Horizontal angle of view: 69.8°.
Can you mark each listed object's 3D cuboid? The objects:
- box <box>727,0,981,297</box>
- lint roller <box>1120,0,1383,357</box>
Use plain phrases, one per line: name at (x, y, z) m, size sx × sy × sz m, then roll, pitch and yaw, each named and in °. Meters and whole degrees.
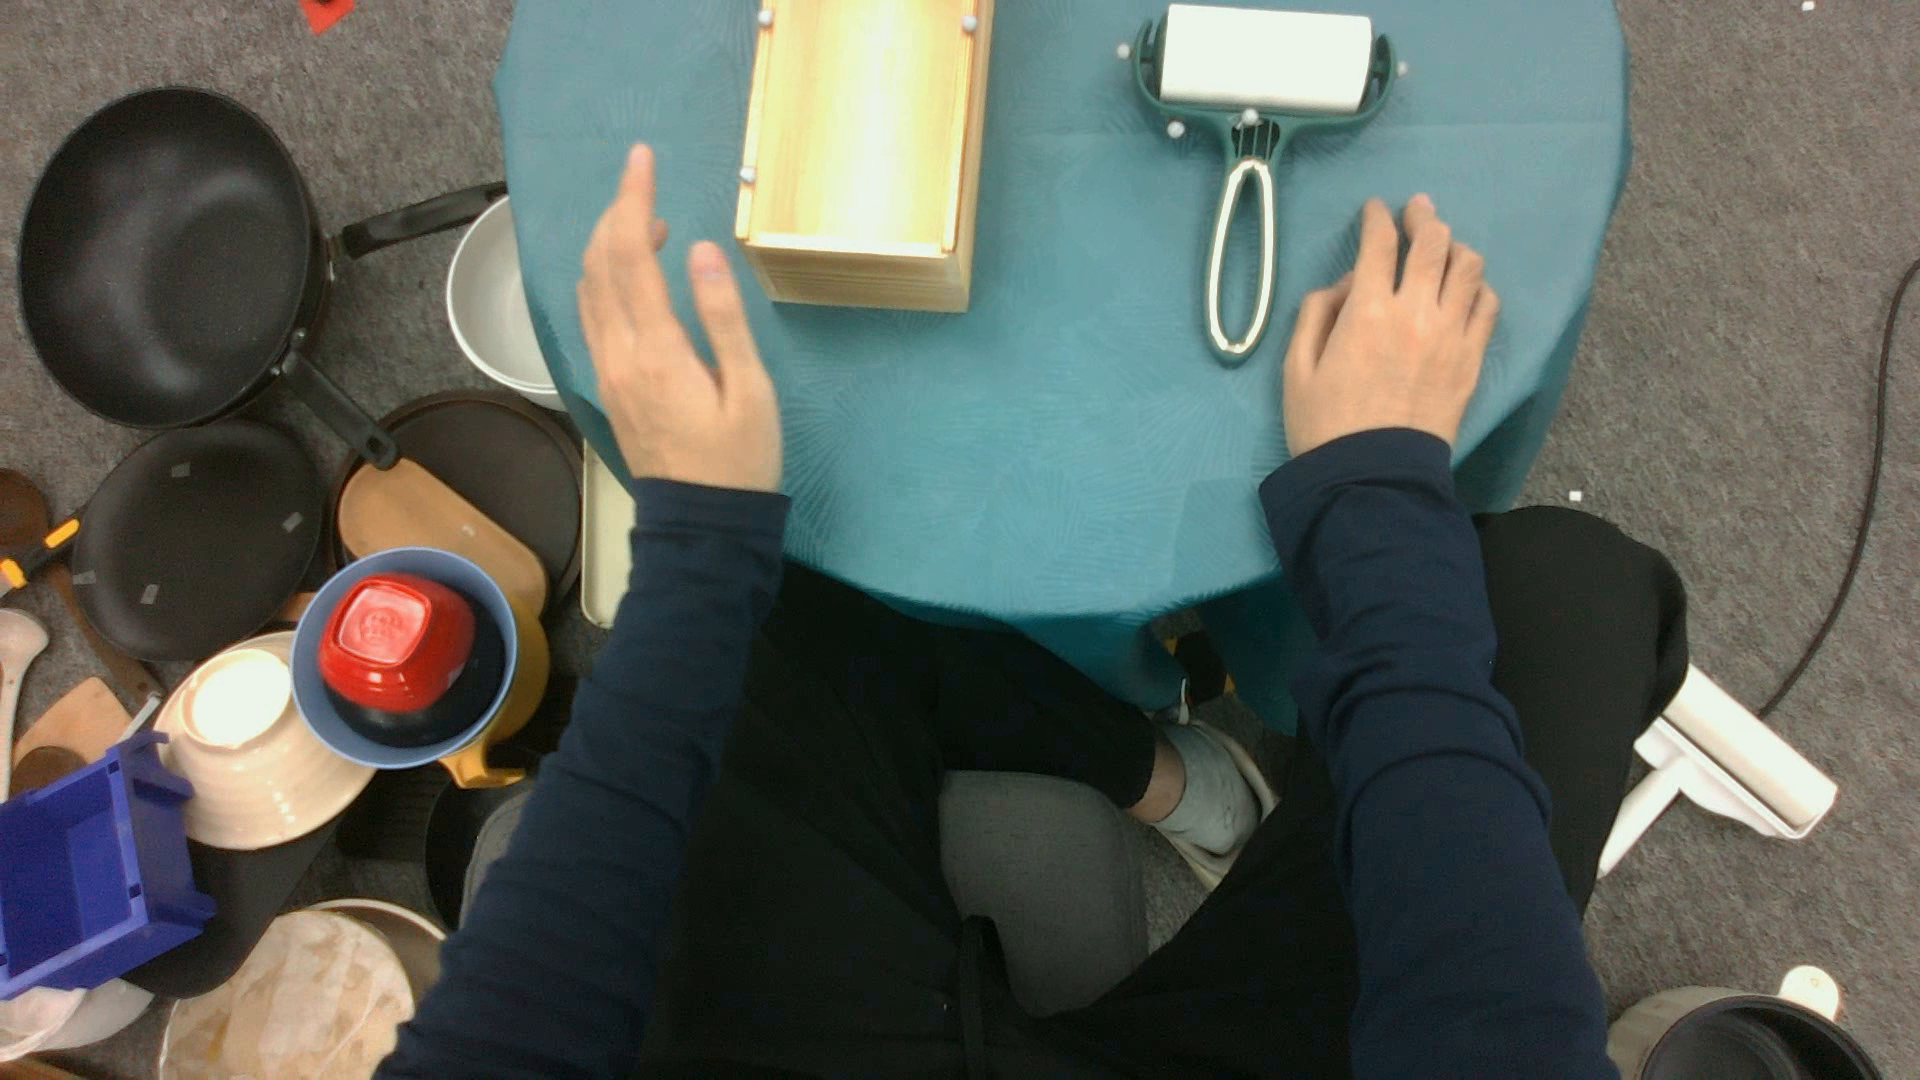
box at (-0.048, -0.240, 0.701) m, size 0.107 × 0.080 × 0.212 m, roll 4°, pitch 80°, yaw 3°
lint roller at (0.142, -0.186, 0.699) m, size 0.134 × 0.048 × 0.180 m, roll 5°, pitch 81°, yaw 5°
